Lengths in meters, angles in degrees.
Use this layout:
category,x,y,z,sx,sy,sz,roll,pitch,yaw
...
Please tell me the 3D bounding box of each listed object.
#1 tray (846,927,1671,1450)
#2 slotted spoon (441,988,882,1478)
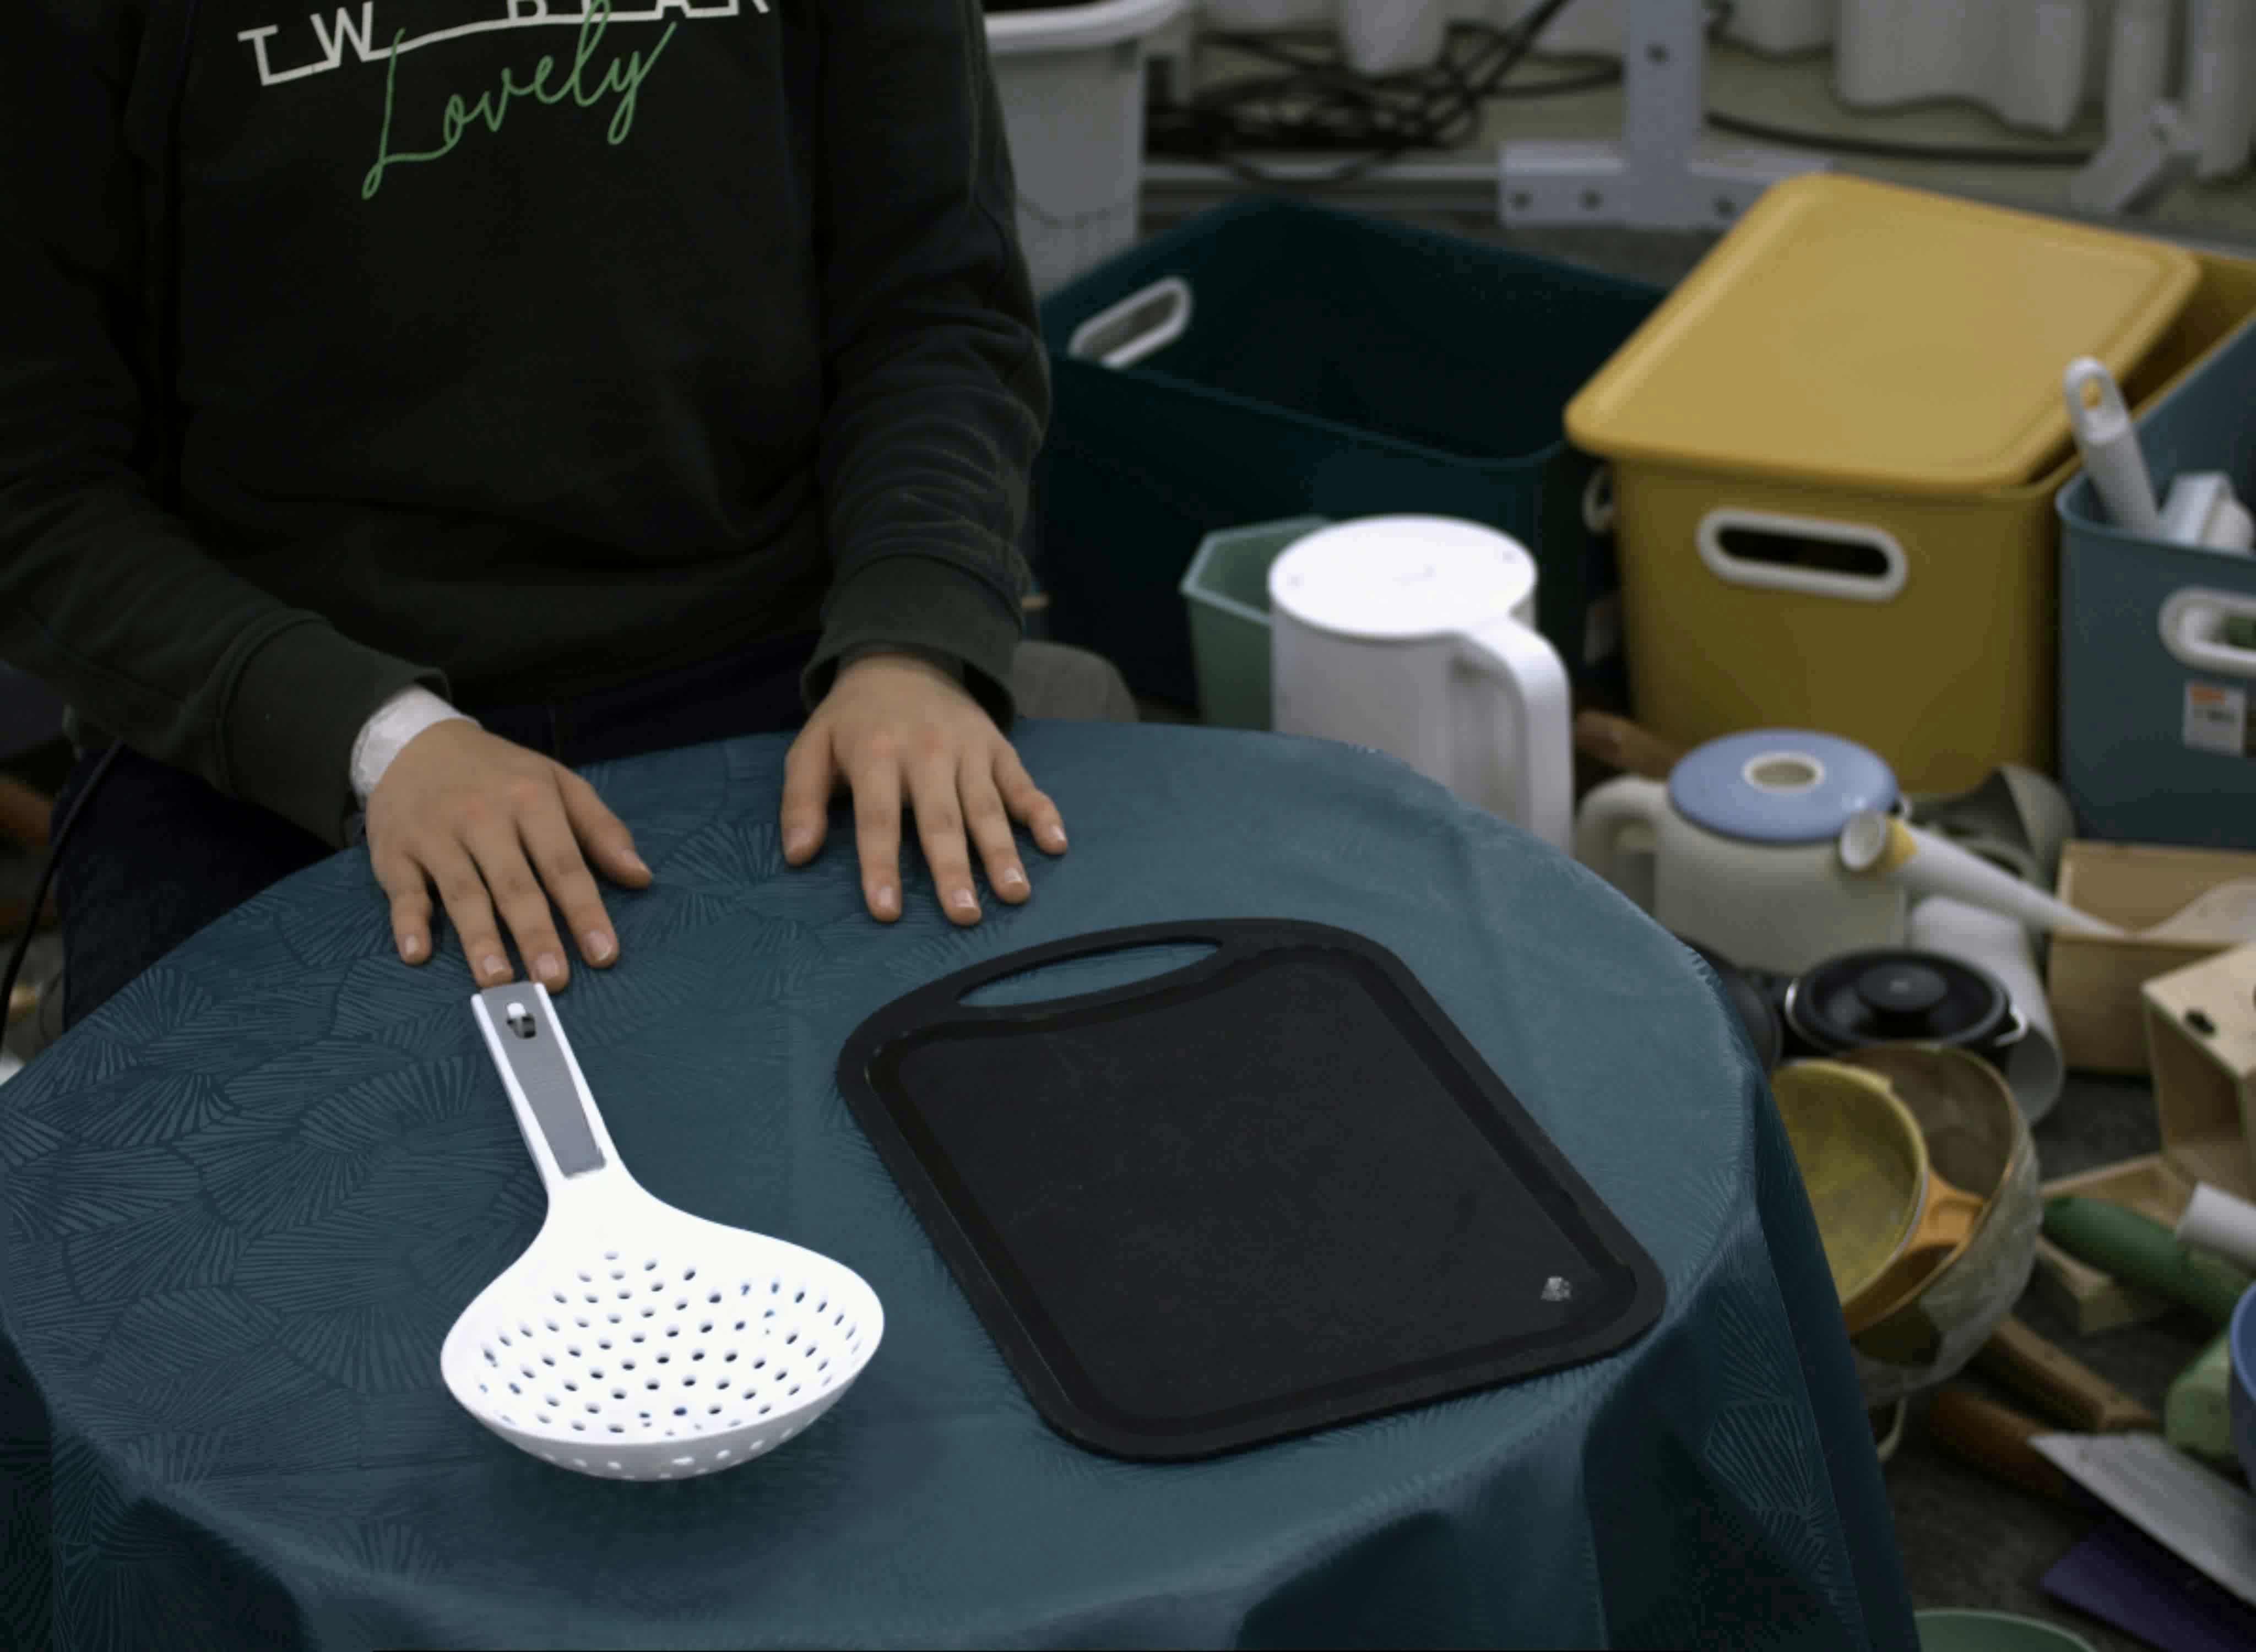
category,x,y,z,sx,sy,sz,roll,pitch,yaw
tray,0.033,0.111,1.871,0.211,0.009,0.328,-11,28,-16
slotted spoon,-0.171,0.125,1.822,0.136,0.045,0.353,-8,27,-13
